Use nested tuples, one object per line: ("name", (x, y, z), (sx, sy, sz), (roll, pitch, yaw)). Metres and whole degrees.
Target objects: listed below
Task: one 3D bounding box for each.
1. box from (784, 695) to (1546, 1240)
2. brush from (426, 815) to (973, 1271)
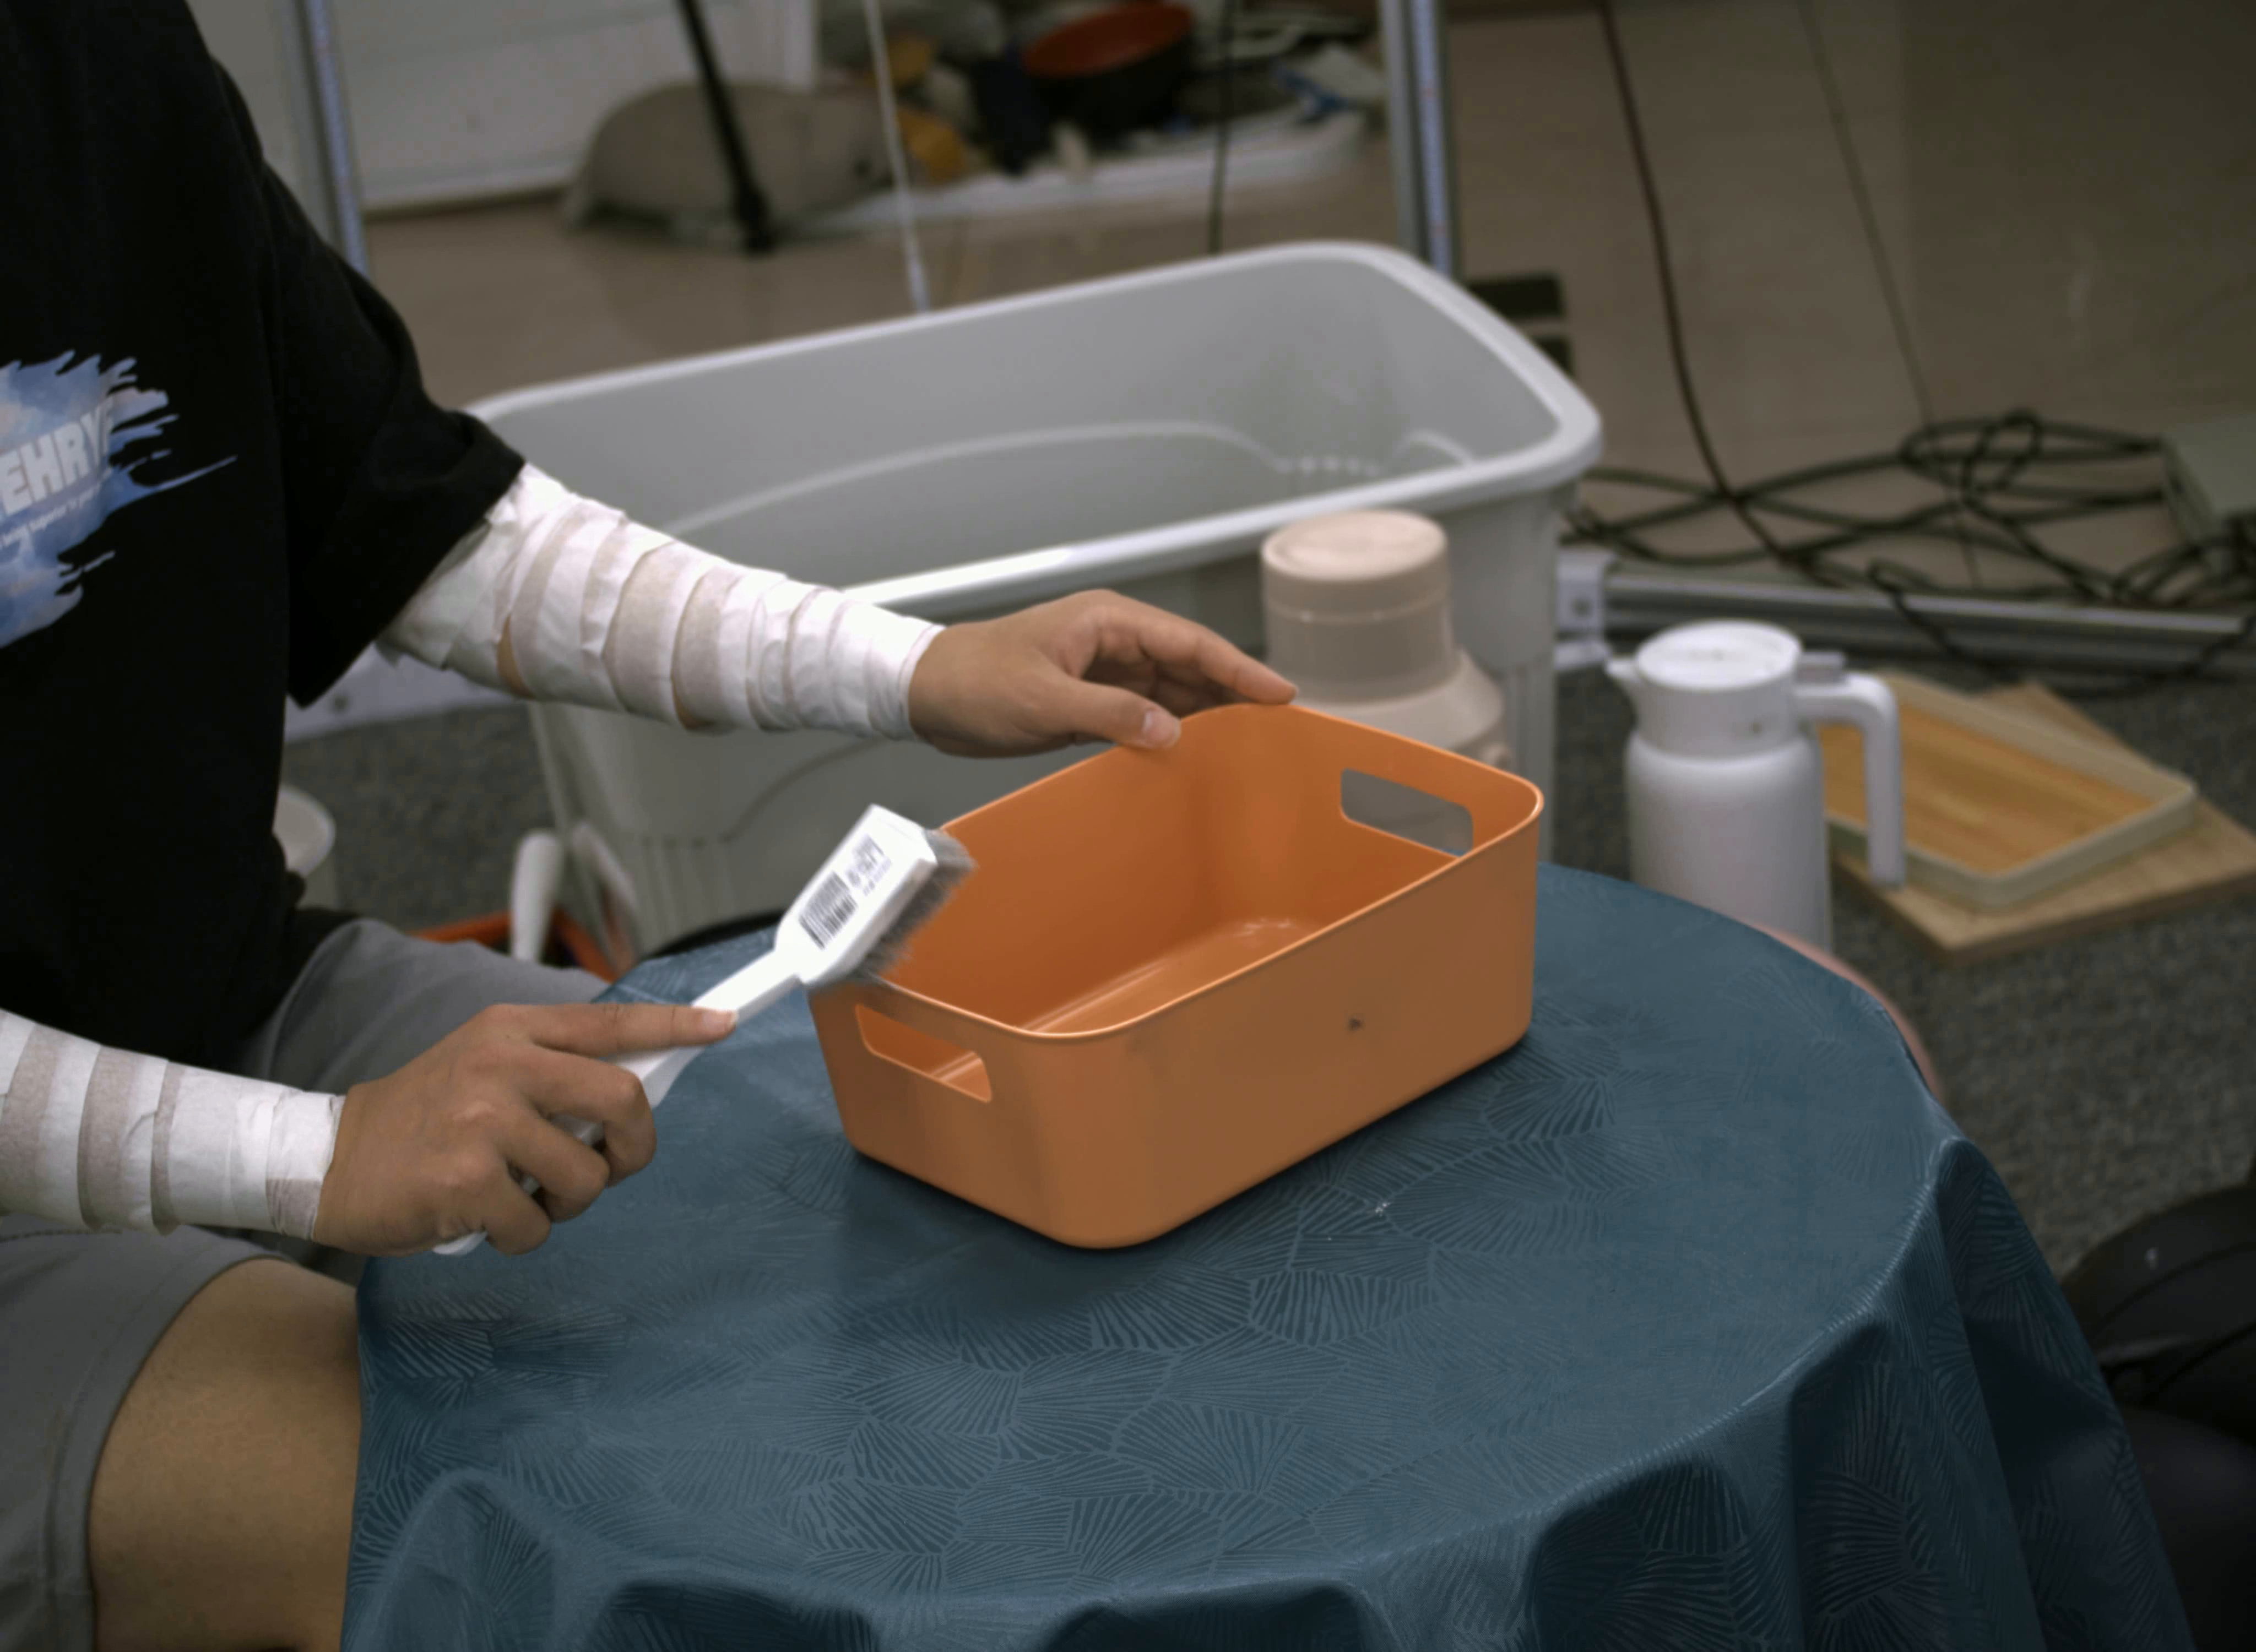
("box", (0.019, 0.054, 2.197), (0.271, 0.104, 0.198), (-25, 32, -36))
("brush", (-0.156, 0.086, 2.083), (0.243, 0.051, 0.034), (-42, 57, -3))
